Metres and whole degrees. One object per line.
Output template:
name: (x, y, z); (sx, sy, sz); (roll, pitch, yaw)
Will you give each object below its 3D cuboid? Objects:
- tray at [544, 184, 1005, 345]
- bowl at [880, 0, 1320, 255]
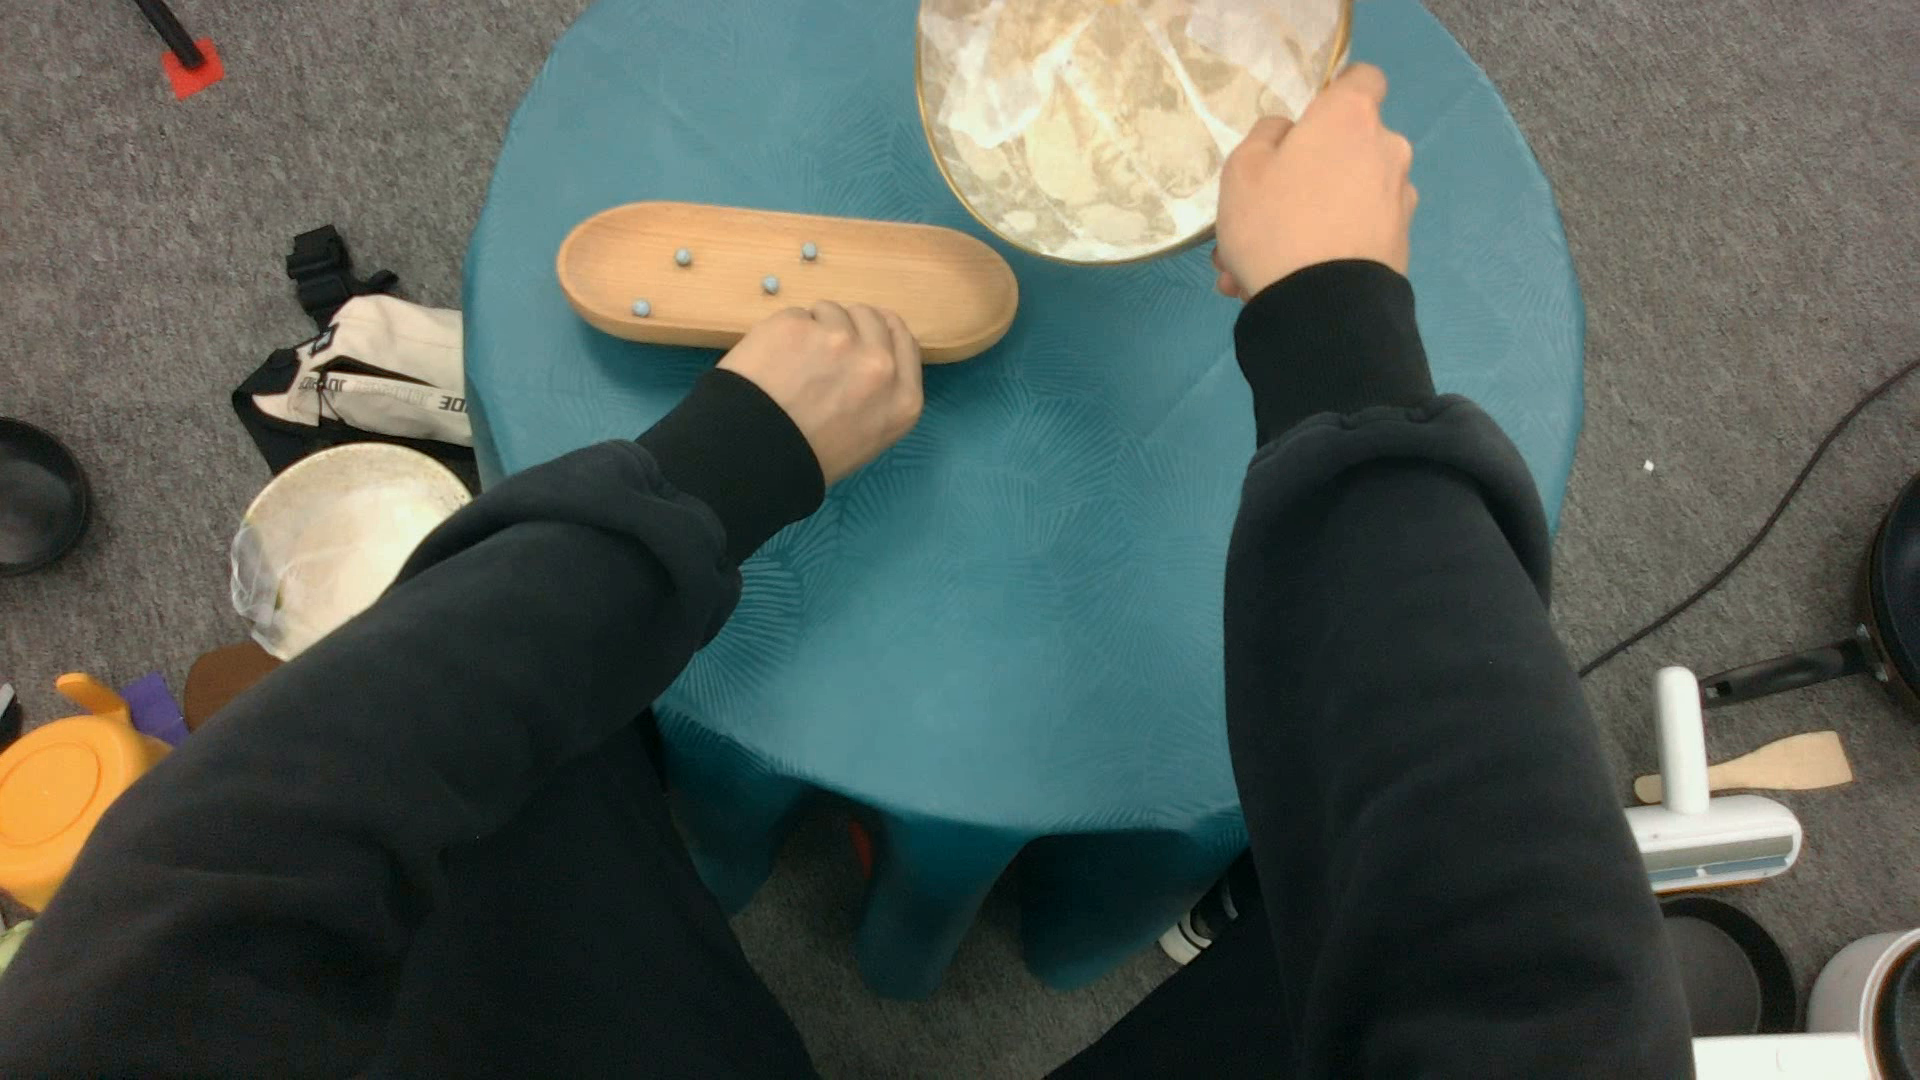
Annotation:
tray: (-0.092, -0.140, 0.701); (0.231, 0.020, 0.102); (4, 50, -8)
bowl: (0.071, -0.231, 0.638); (0.214, 0.095, 0.214); (4, 98, 28)
